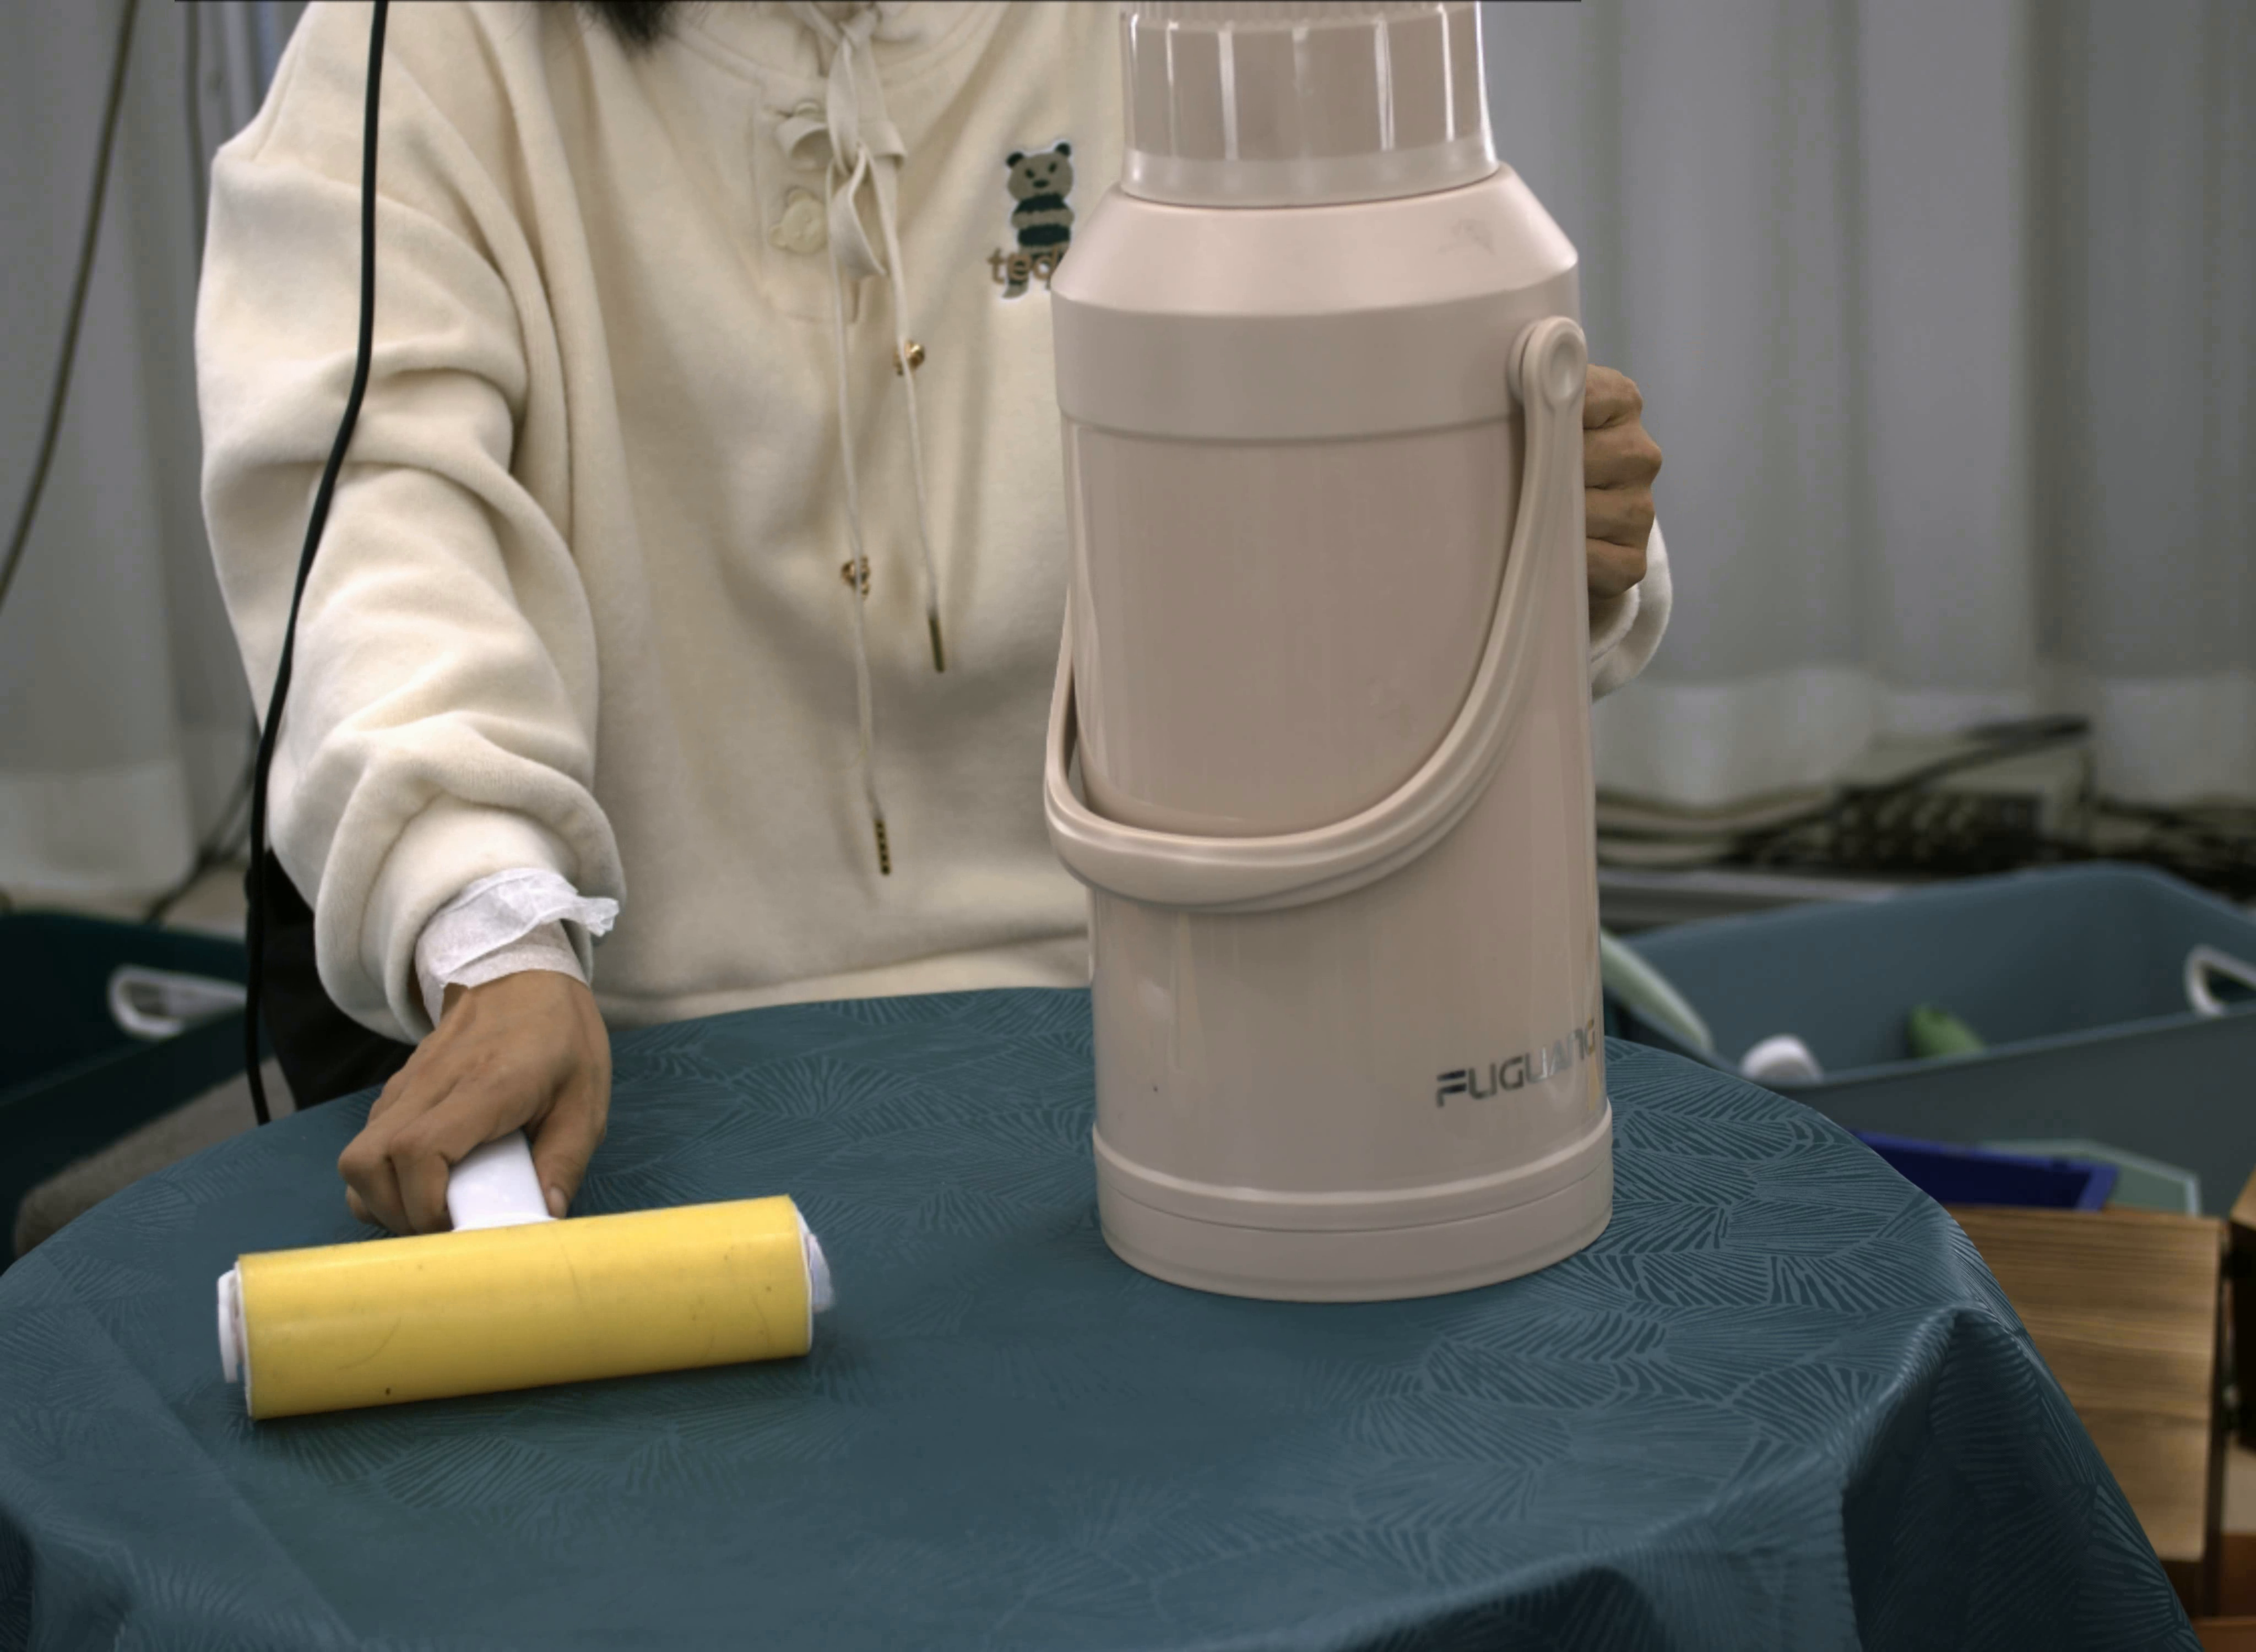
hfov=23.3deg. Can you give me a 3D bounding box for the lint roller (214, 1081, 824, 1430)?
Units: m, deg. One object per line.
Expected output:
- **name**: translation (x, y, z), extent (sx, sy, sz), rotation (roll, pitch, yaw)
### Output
- **lint roller**: translation (-0.190, 0.110, 1.630), extent (0.173, 0.051, 0.194), rotation (-6, 28, -11)

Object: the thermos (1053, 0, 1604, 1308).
- **thermos**: translation (0.069, -0.074, 1.643), extent (0.176, 0.405, 0.207), rotation (7, 17, 38)
